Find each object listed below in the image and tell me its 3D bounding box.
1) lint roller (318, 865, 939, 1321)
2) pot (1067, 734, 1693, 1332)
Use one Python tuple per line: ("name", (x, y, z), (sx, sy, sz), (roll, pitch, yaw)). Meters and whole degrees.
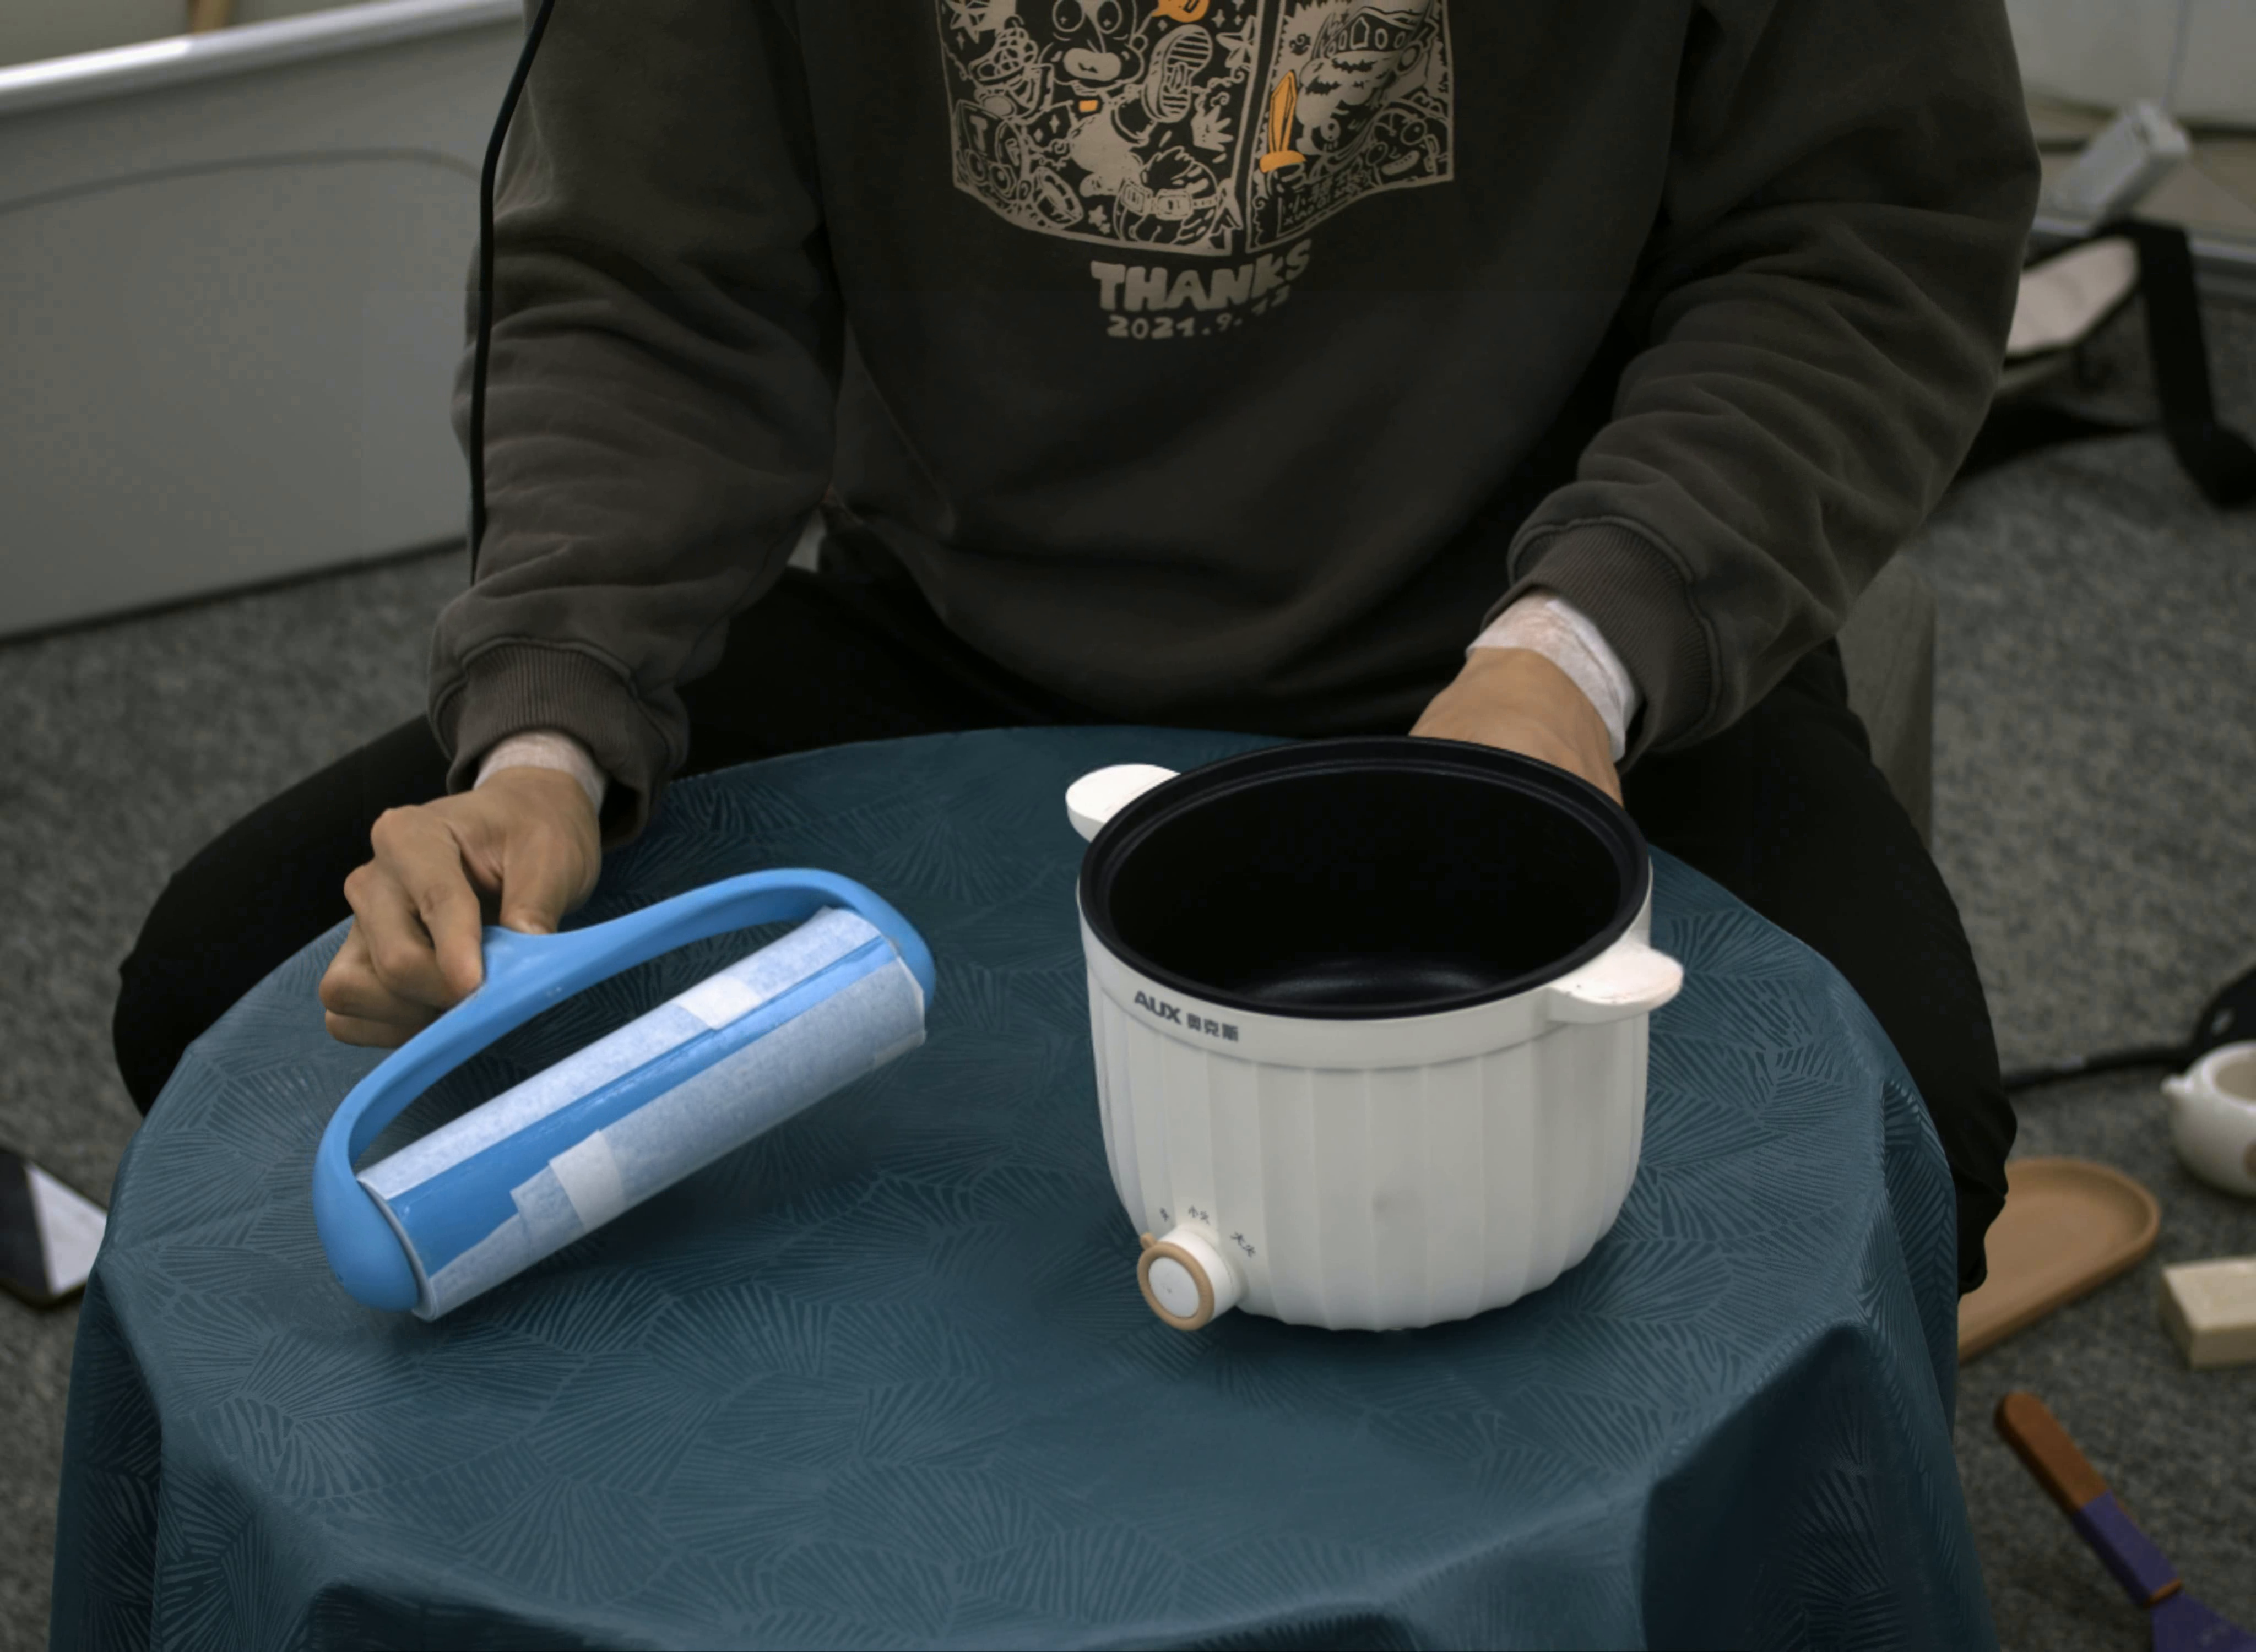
("lint roller", (-0.195, 0.068, 1.876), (0.231, 0.067, 0.180), (-32, 40, -25))
("pot", (0.076, 0.073, 1.797), (0.239, 0.141, 0.193), (18, 31, 37))
